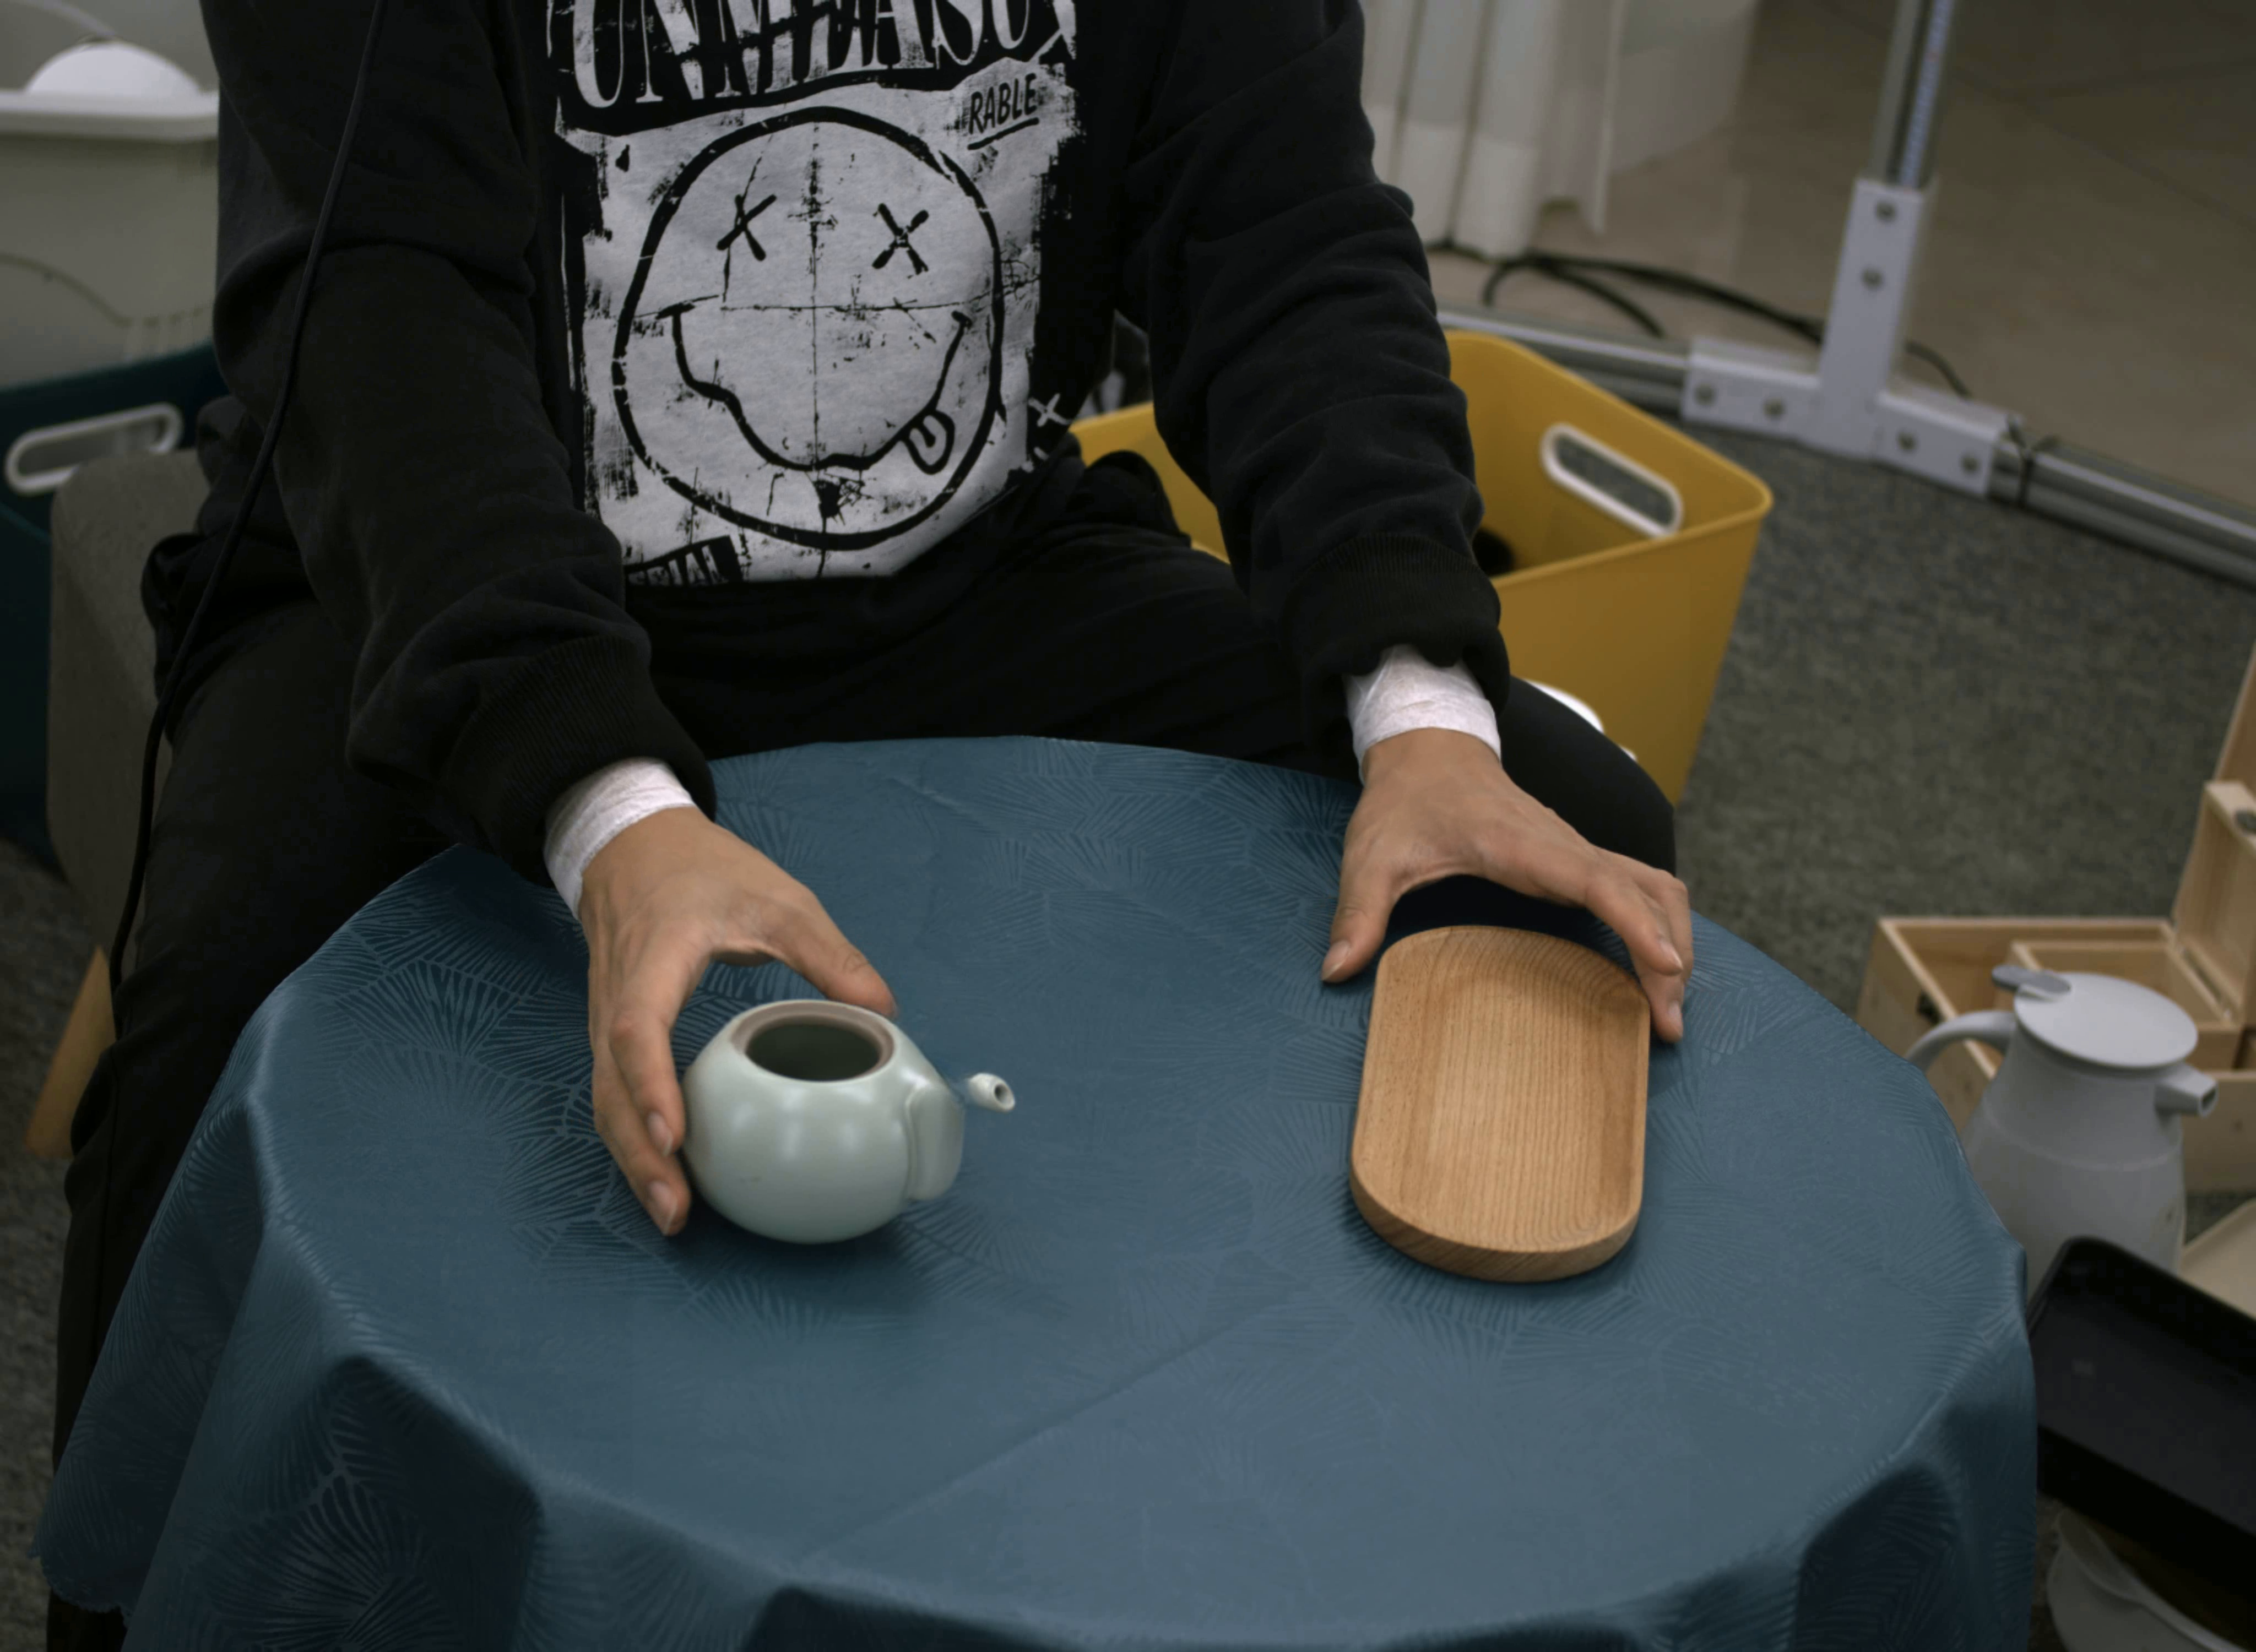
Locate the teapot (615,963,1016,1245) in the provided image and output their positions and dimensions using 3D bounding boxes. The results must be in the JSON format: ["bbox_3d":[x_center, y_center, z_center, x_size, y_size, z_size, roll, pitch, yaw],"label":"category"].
[{"bbox_3d":[-0.105,0.096,1.756,0.144,0.074,0.088,19,28,20],"label":"teapot"}]

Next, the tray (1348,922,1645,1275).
[{"bbox_3d":[0.131,0.094,1.876,0.101,0.020,0.232,9,25,2],"label":"tray"}]
